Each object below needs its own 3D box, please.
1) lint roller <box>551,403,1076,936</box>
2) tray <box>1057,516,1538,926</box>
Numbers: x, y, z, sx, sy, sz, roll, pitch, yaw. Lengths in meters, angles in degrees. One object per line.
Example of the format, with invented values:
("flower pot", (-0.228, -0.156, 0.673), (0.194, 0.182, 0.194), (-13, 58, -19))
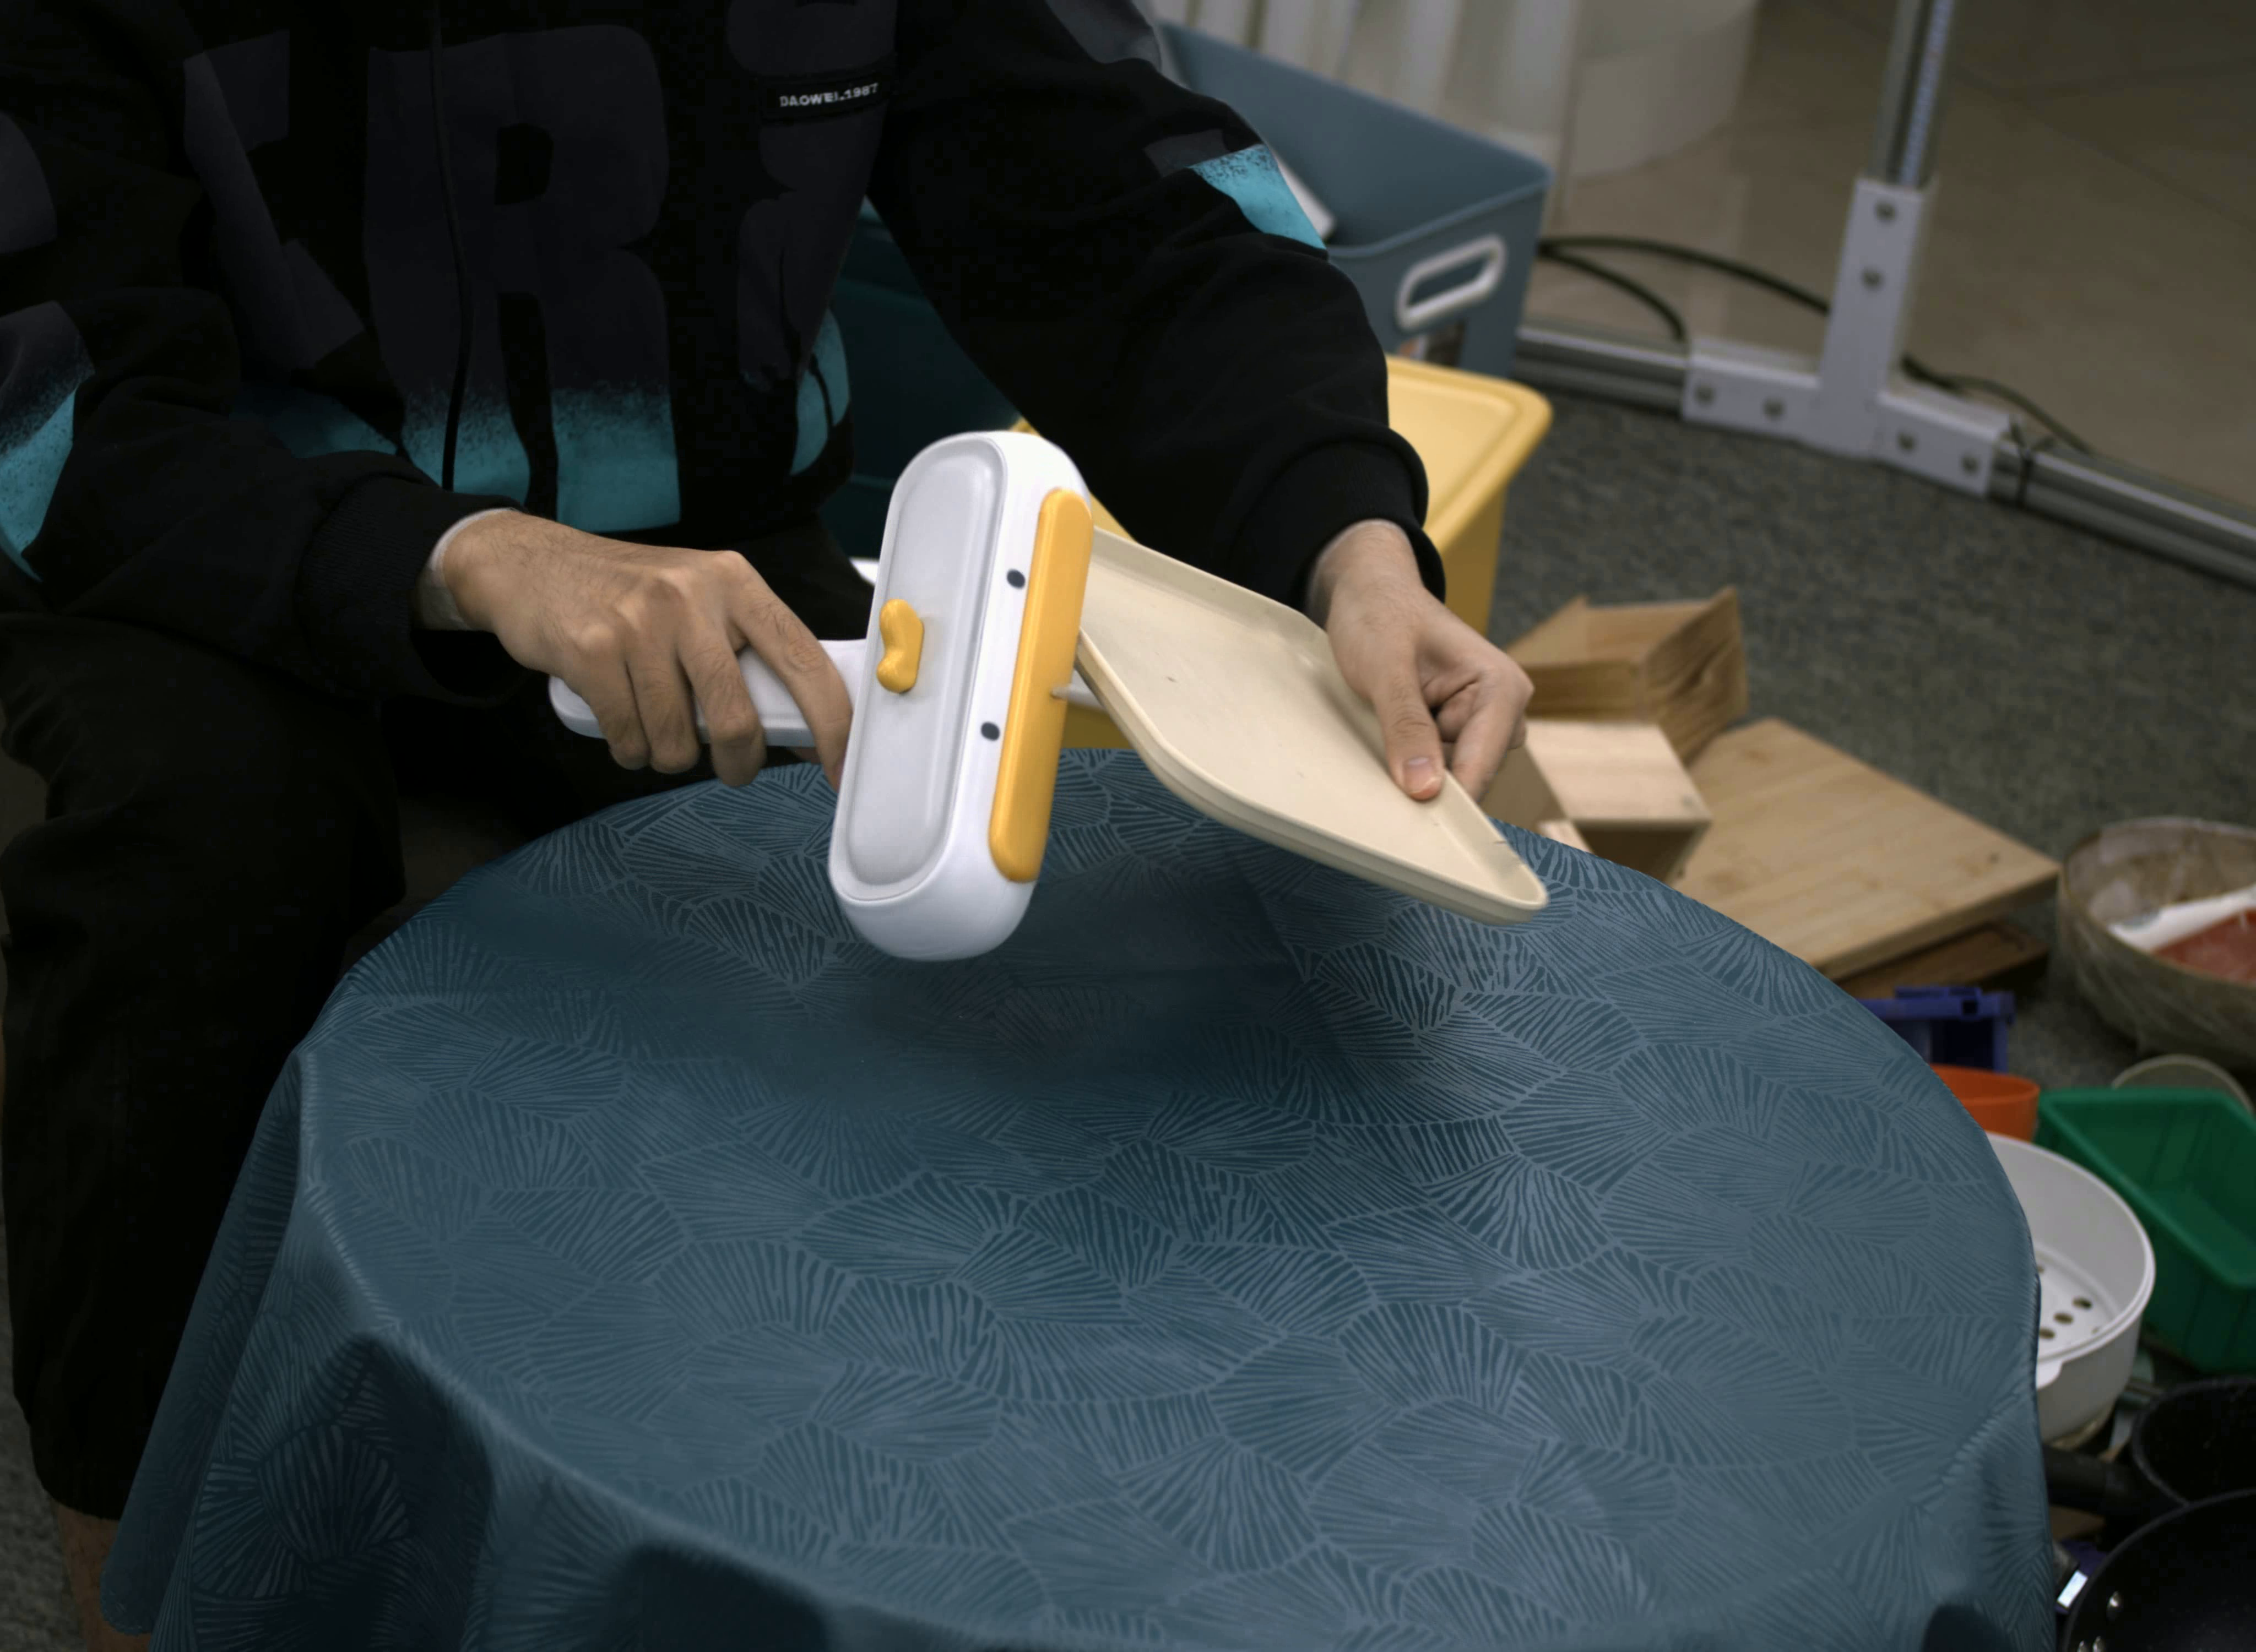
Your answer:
("lint roller", (-0.110, -0.049, 1.866), (0.193, 0.194, 0.073), (-10, -23, 29))
("tray", (0.041, -0.042, 1.901), (0.170, 0.017, 0.242), (22, 18, -29))
